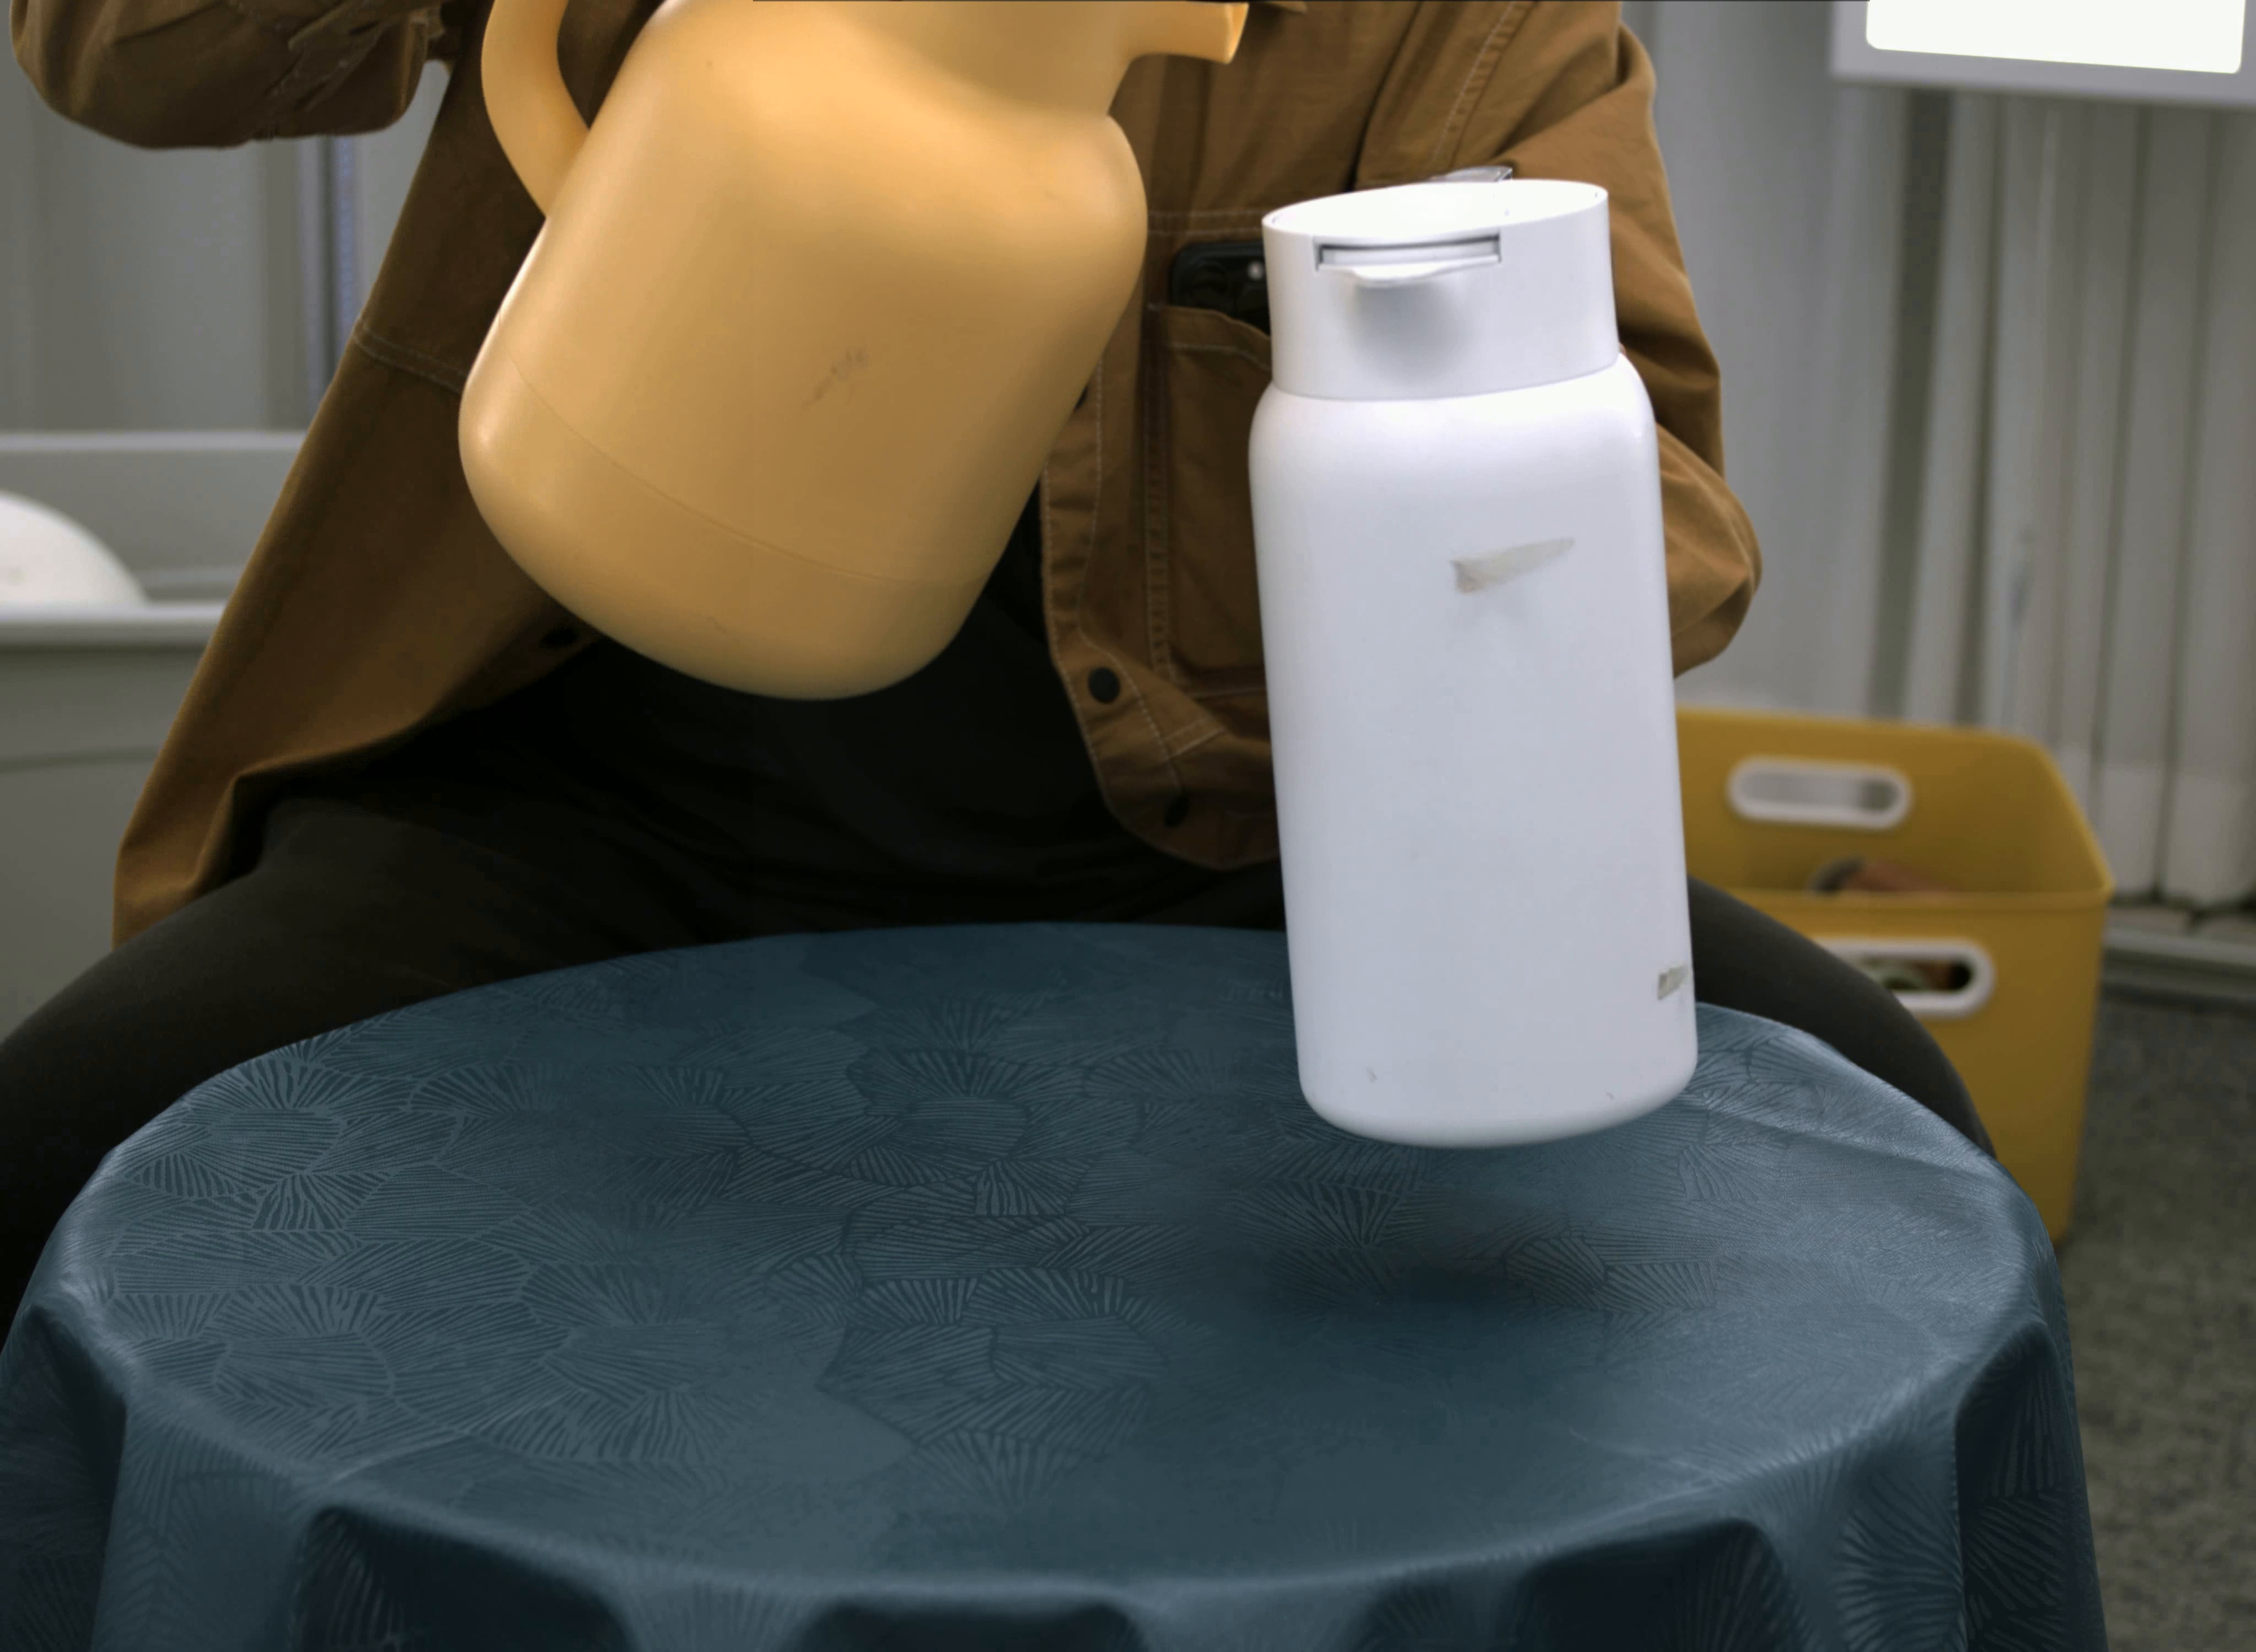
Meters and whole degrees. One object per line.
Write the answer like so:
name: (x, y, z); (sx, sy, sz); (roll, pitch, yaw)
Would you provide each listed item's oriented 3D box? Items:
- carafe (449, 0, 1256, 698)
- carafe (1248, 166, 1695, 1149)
carafe: (-0.094, -0.186, 1.506); (0.202, 0.261, 0.163); (31, 21, 2)
carafe: (0.100, -0.053, 1.527); (0.123, 0.271, 0.172); (-3, 14, 15)
